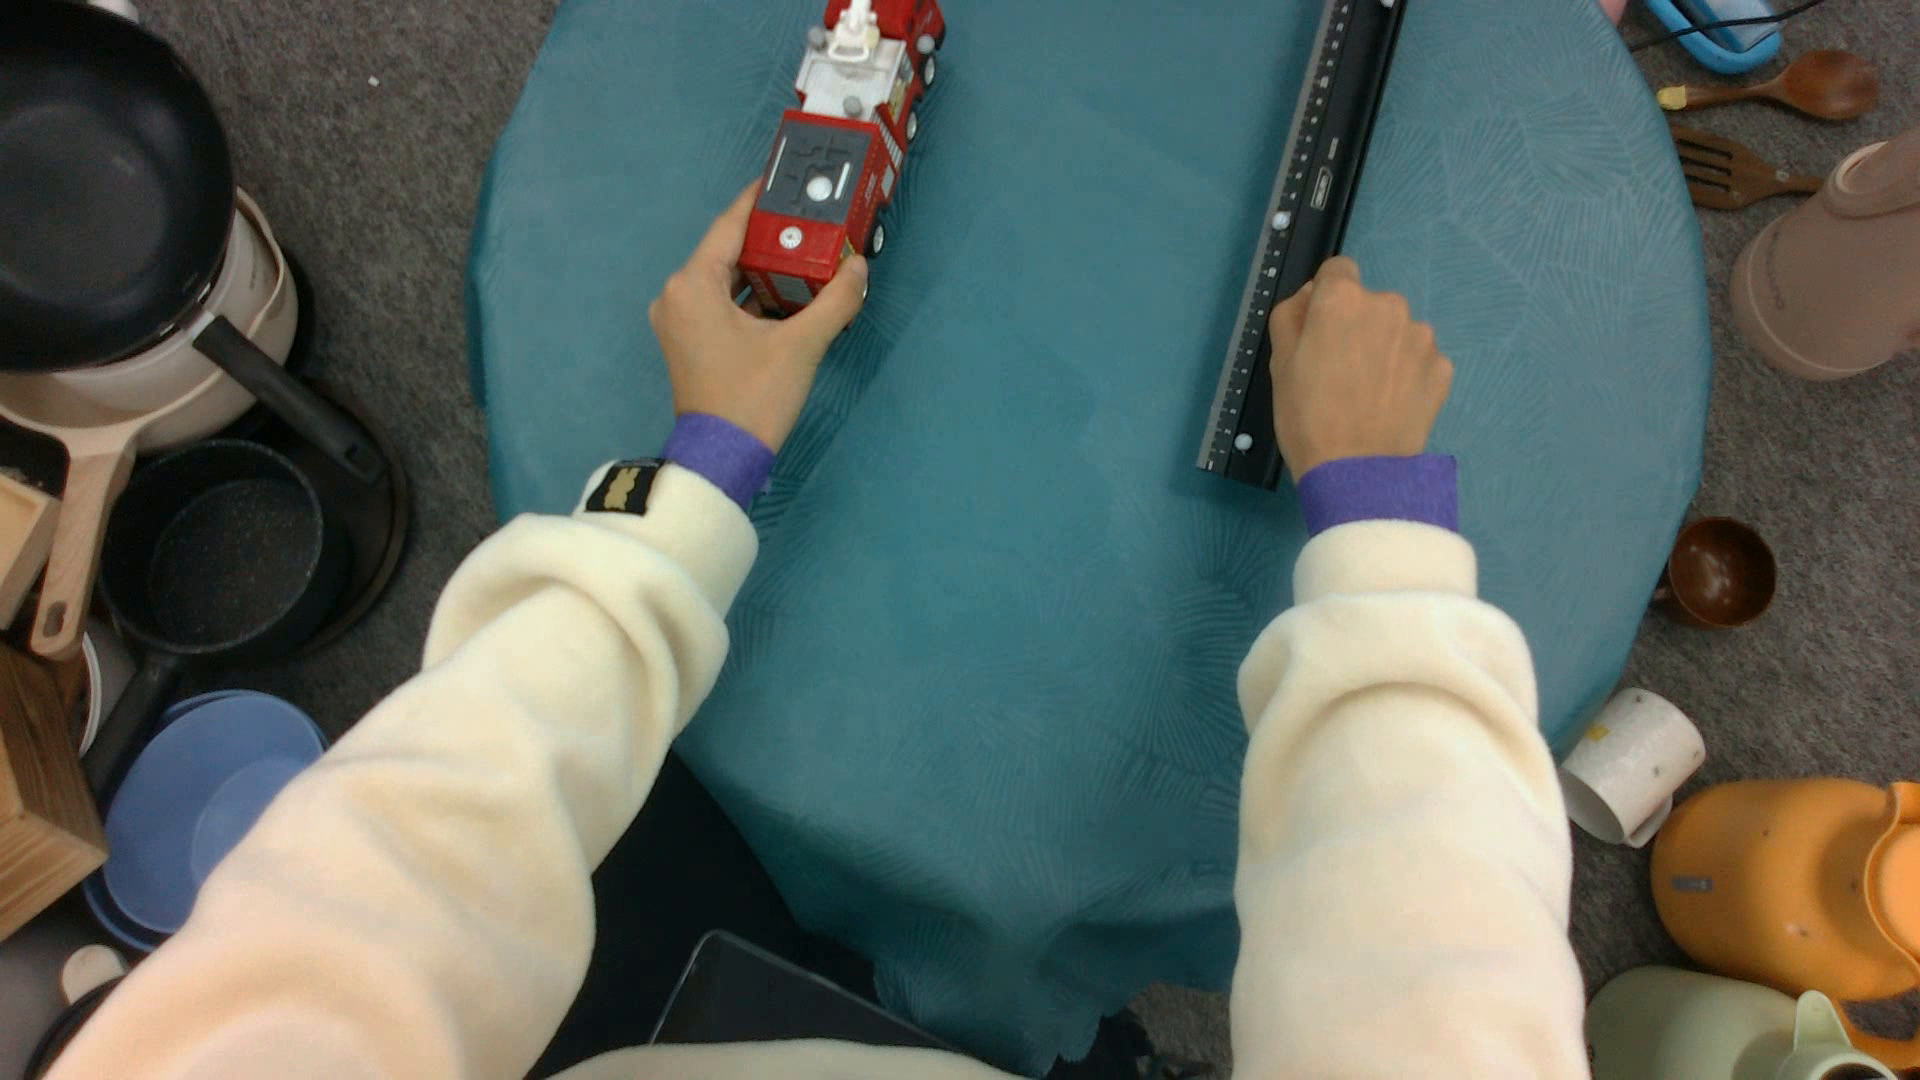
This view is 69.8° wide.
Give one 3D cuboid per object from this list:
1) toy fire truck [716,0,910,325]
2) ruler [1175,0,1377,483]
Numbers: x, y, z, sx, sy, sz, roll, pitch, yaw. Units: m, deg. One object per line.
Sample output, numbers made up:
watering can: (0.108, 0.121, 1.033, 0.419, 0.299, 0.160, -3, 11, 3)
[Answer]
toy fire truck: (-0.065, -0.185, 0.634, 0.054, 0.070, 0.168, 11, 78, 11)
ruler: (0.161, -0.178, 0.661, 0.039, 0.017, 0.313, 16, 77, 5)
